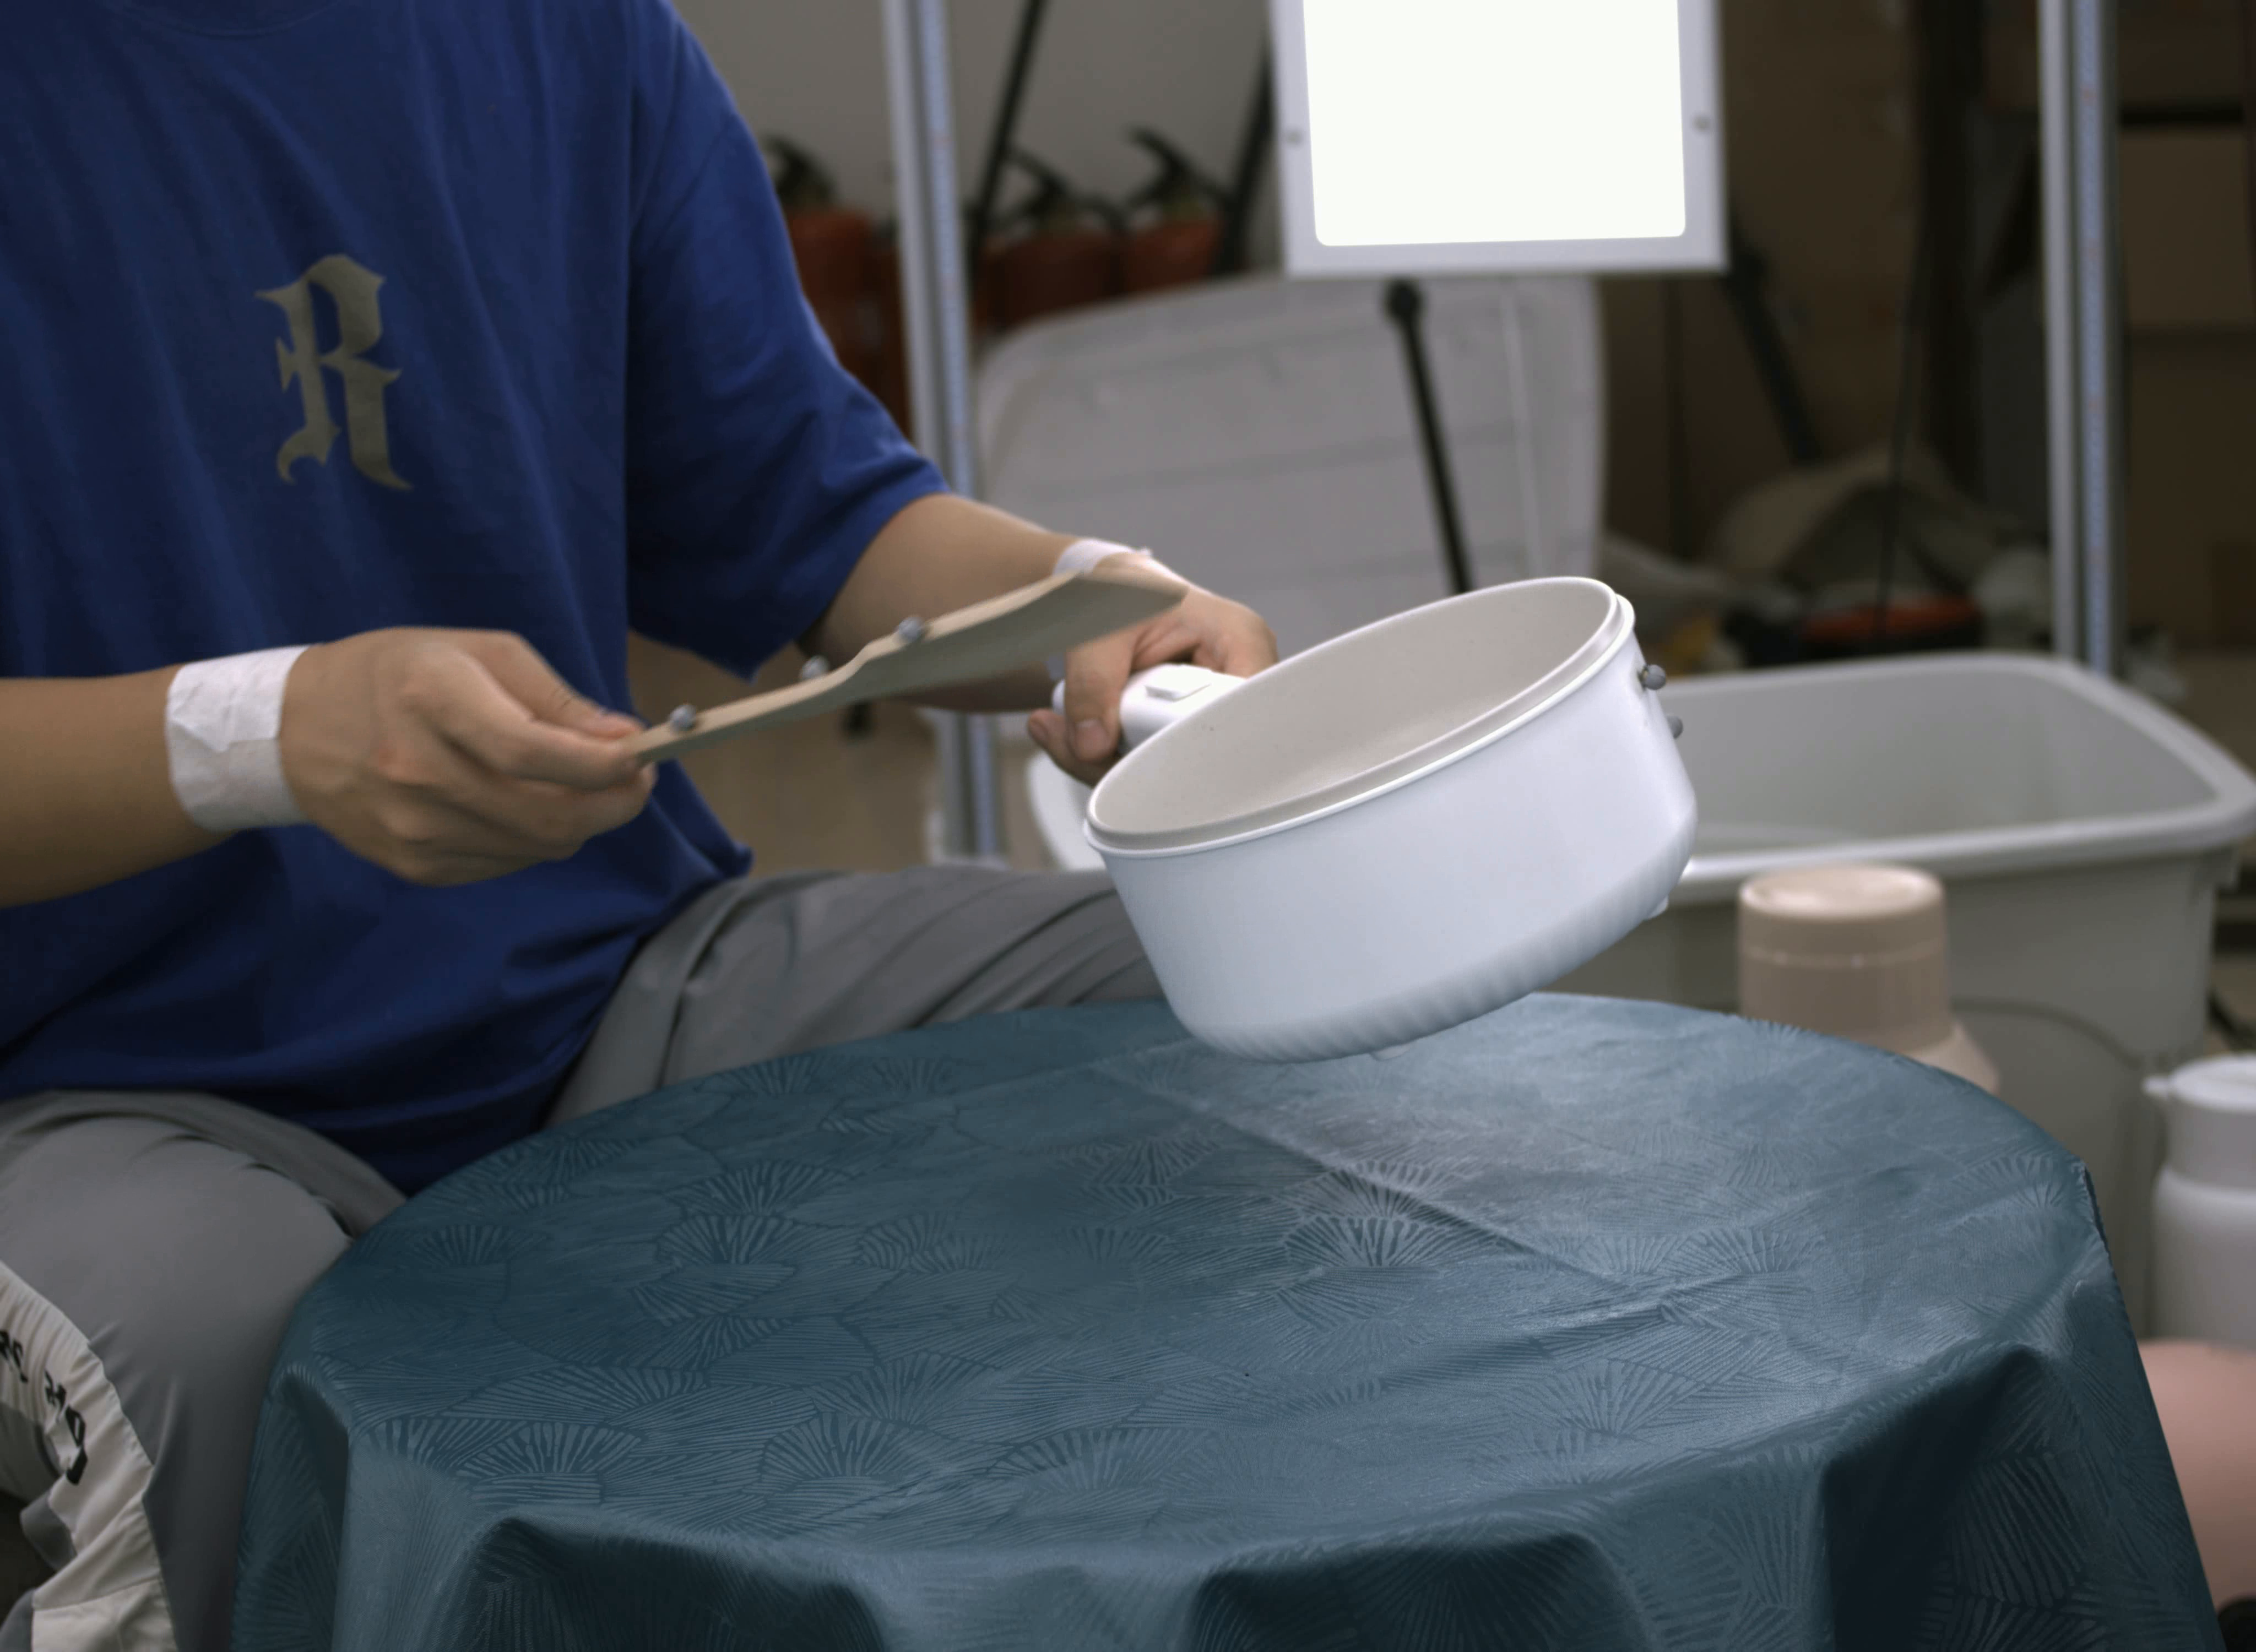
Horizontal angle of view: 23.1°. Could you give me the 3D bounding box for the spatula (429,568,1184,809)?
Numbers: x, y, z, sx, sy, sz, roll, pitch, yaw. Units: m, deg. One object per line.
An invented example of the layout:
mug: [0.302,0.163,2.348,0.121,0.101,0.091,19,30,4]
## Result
spatula: [-0.117,-0.042,1.825,0.299,0.011,0.070,-16,-10,33]

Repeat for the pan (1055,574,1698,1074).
pan: [0.067,-0.003,1.944,0.198,0.102,0.360,-30,15,-16]
